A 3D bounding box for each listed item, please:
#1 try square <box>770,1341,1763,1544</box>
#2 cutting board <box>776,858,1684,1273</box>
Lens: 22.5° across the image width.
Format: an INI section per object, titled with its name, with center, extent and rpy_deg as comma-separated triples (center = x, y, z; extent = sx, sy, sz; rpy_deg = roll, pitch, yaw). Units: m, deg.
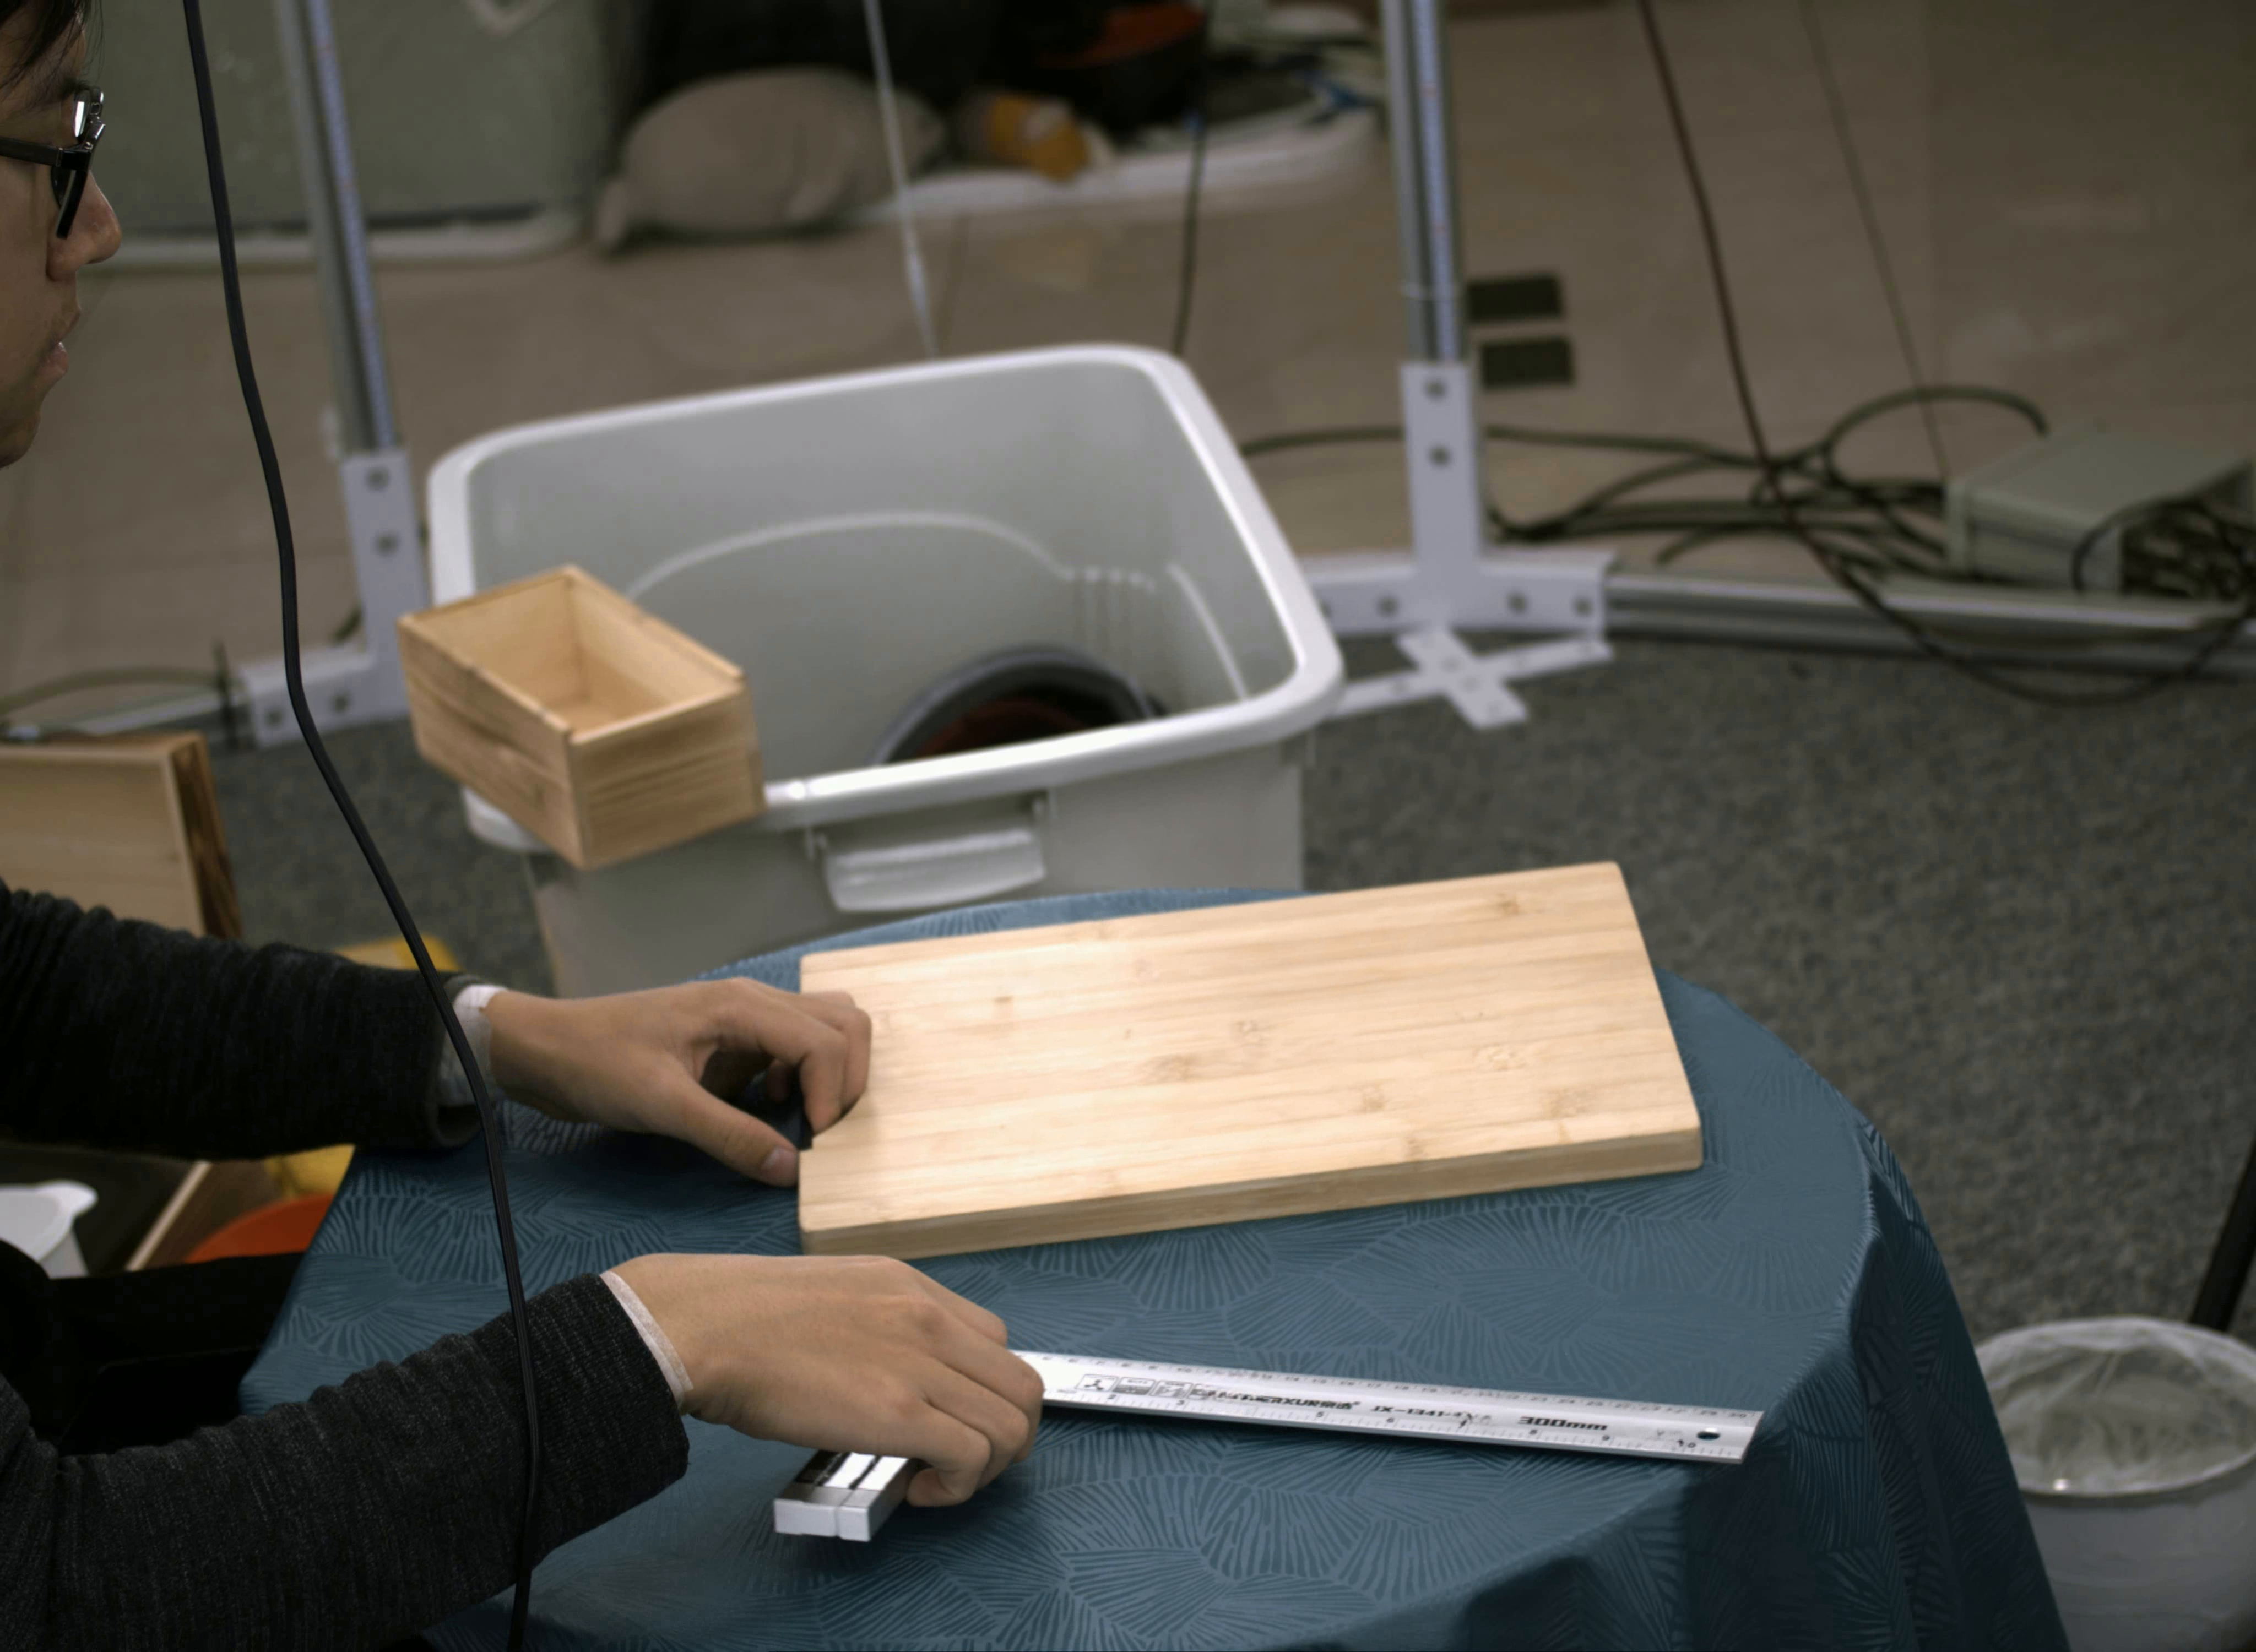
[try square]
center = 0.048, 0.218, 1.940
extent = 0.312, 0.016, 0.150
rpy_deg = 3, 20, 18
[cutting board]
center = 0.035, 0.091, 2.223
extent = 0.348, 0.024, 0.247
rpy_deg = -7, 25, -2
